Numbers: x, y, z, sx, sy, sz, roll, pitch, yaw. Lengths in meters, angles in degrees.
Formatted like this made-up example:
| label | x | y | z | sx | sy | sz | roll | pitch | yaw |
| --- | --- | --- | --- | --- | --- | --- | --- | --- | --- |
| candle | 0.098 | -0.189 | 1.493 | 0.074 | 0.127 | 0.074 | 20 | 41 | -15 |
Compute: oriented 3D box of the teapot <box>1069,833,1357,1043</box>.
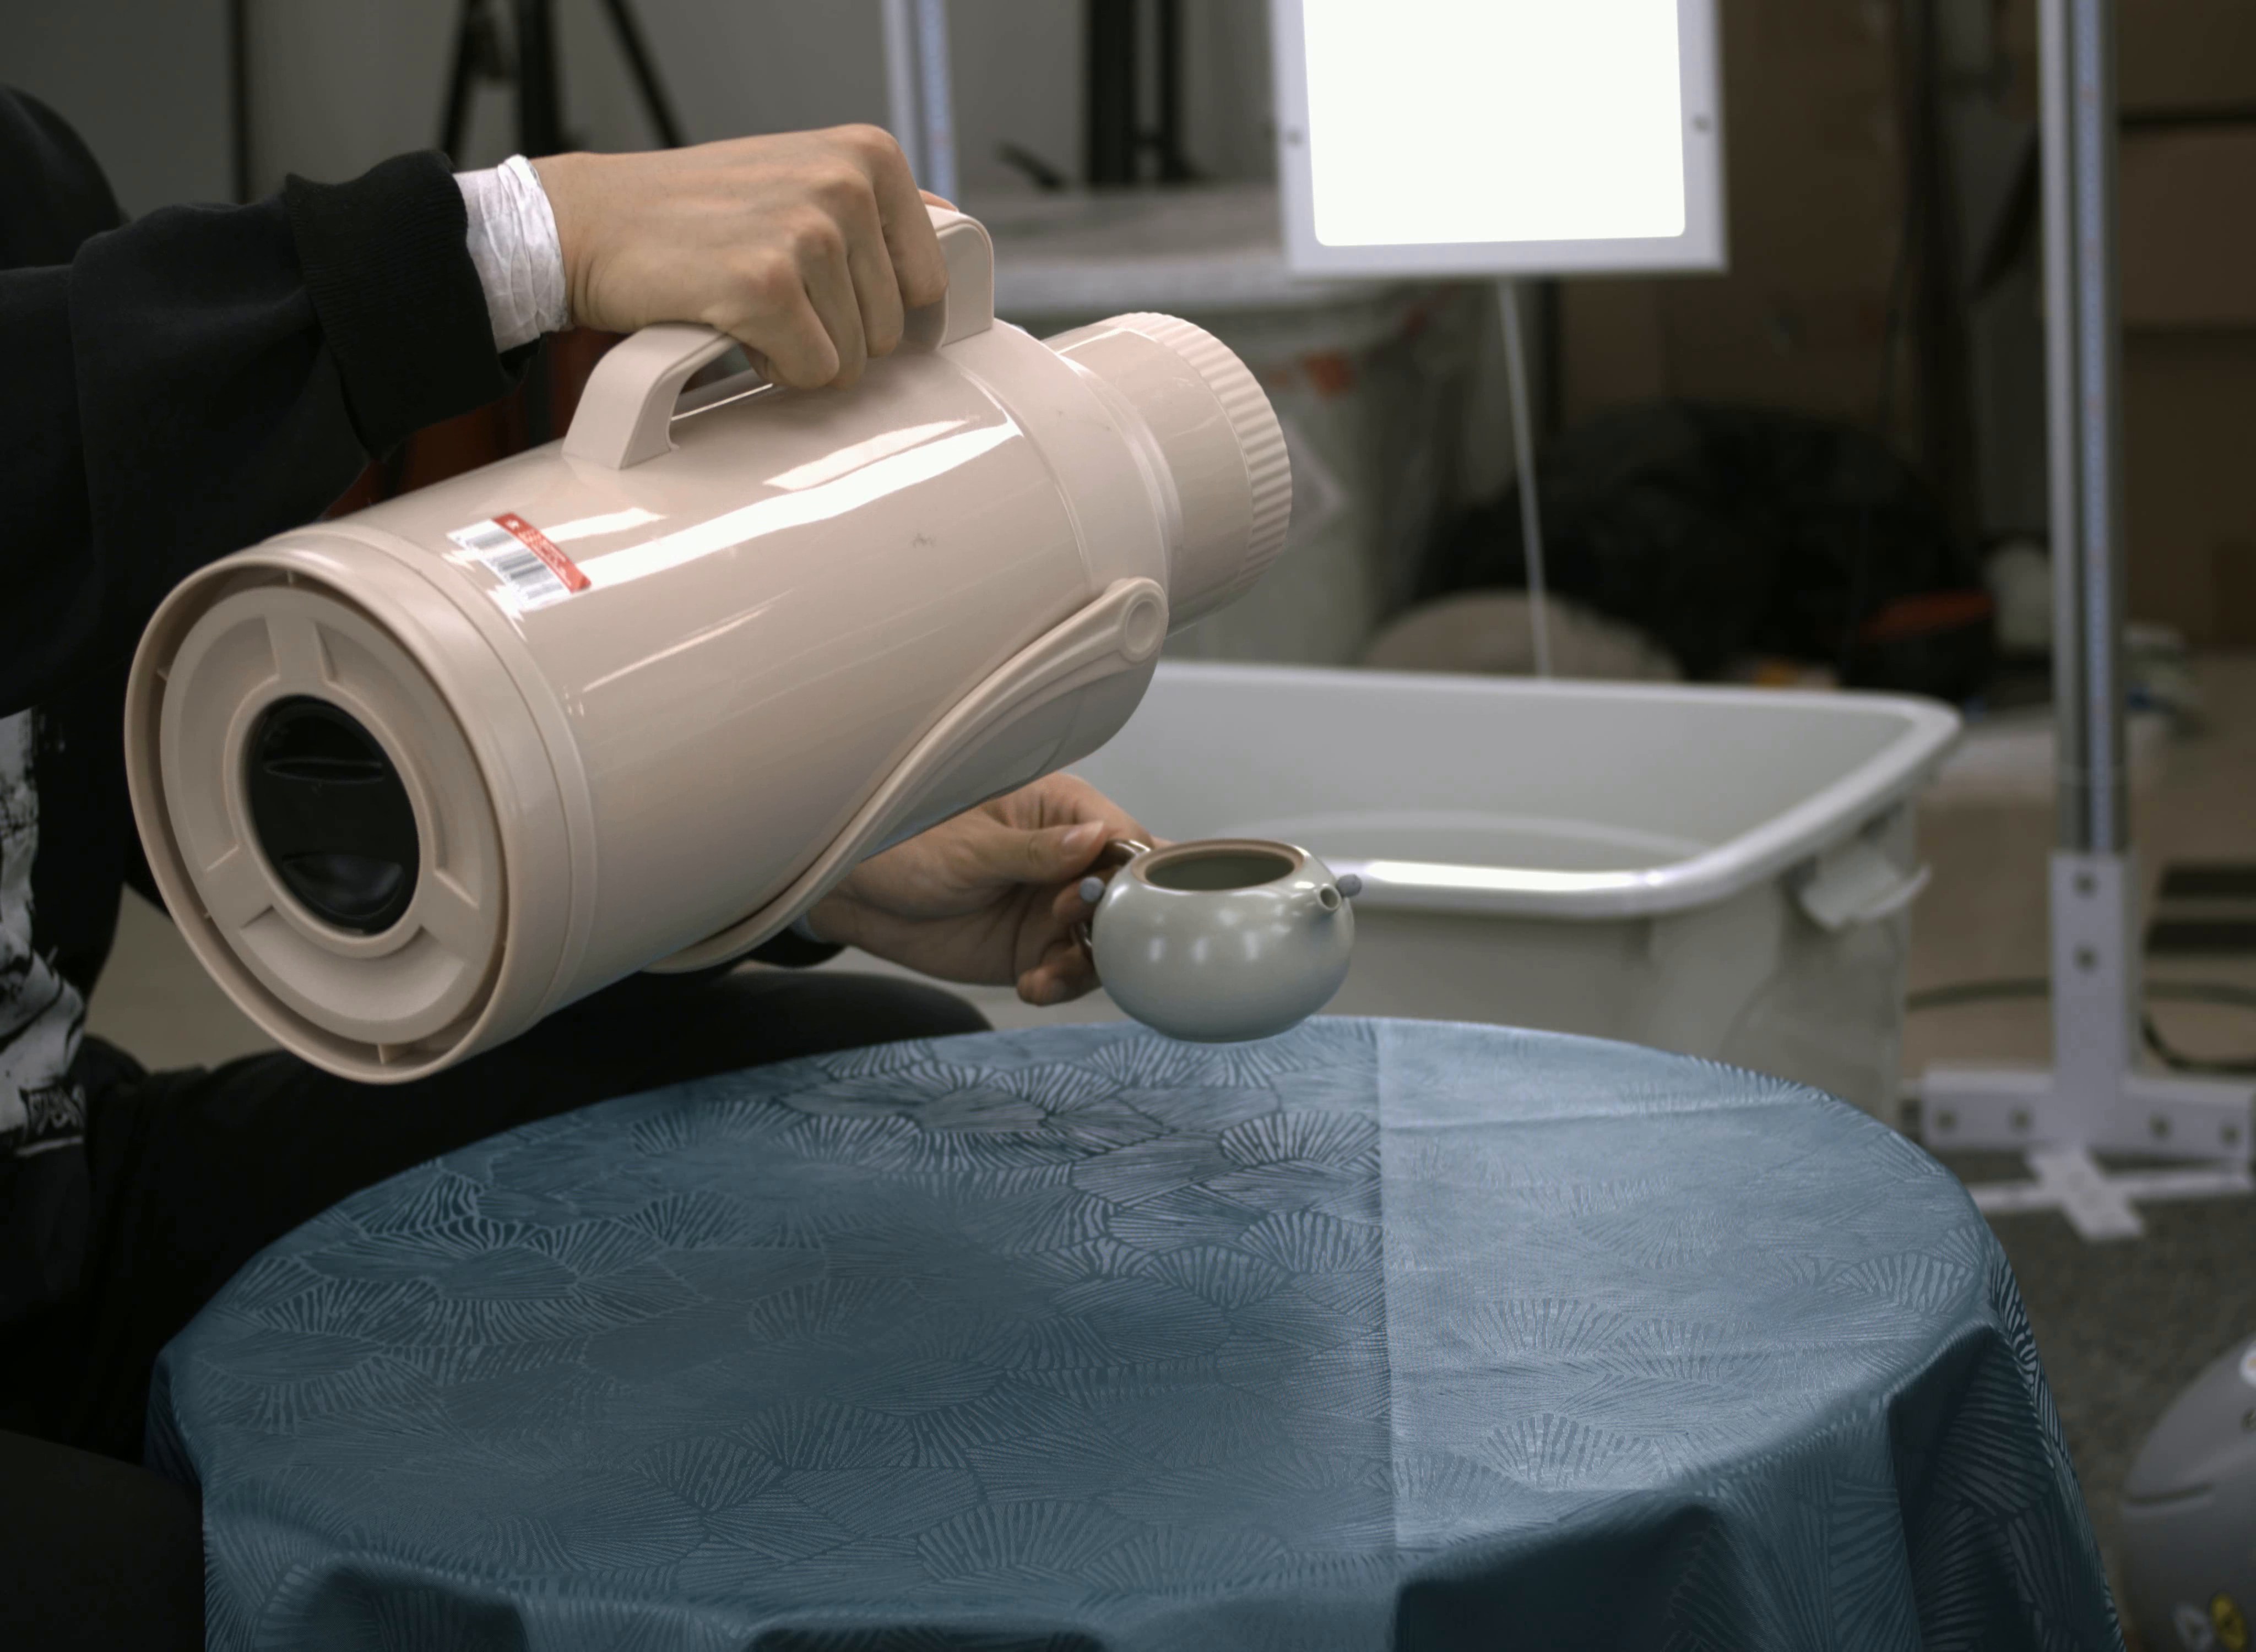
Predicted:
| label | x | y | z | sx | sy | sz | roll | pitch | yaw |
| --- | --- | --- | --- | --- | --- | --- | --- | --- | --- |
| teapot | 0.027 | 0.037 | 1.920 | 0.131 | 0.060 | 0.089 | 13 | 28 | 42 |

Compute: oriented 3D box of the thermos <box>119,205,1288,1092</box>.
| label | x | y | z | sx | sy | sz | roll | pitch | yaw |
| --- | --- | --- | --- | --- | --- | --- | --- | --- | --- |
| thermos | -0.113 | -0.073 | 1.704 | 0.178 | 0.208 | 0.396 | 20 | 32 | 36 |
